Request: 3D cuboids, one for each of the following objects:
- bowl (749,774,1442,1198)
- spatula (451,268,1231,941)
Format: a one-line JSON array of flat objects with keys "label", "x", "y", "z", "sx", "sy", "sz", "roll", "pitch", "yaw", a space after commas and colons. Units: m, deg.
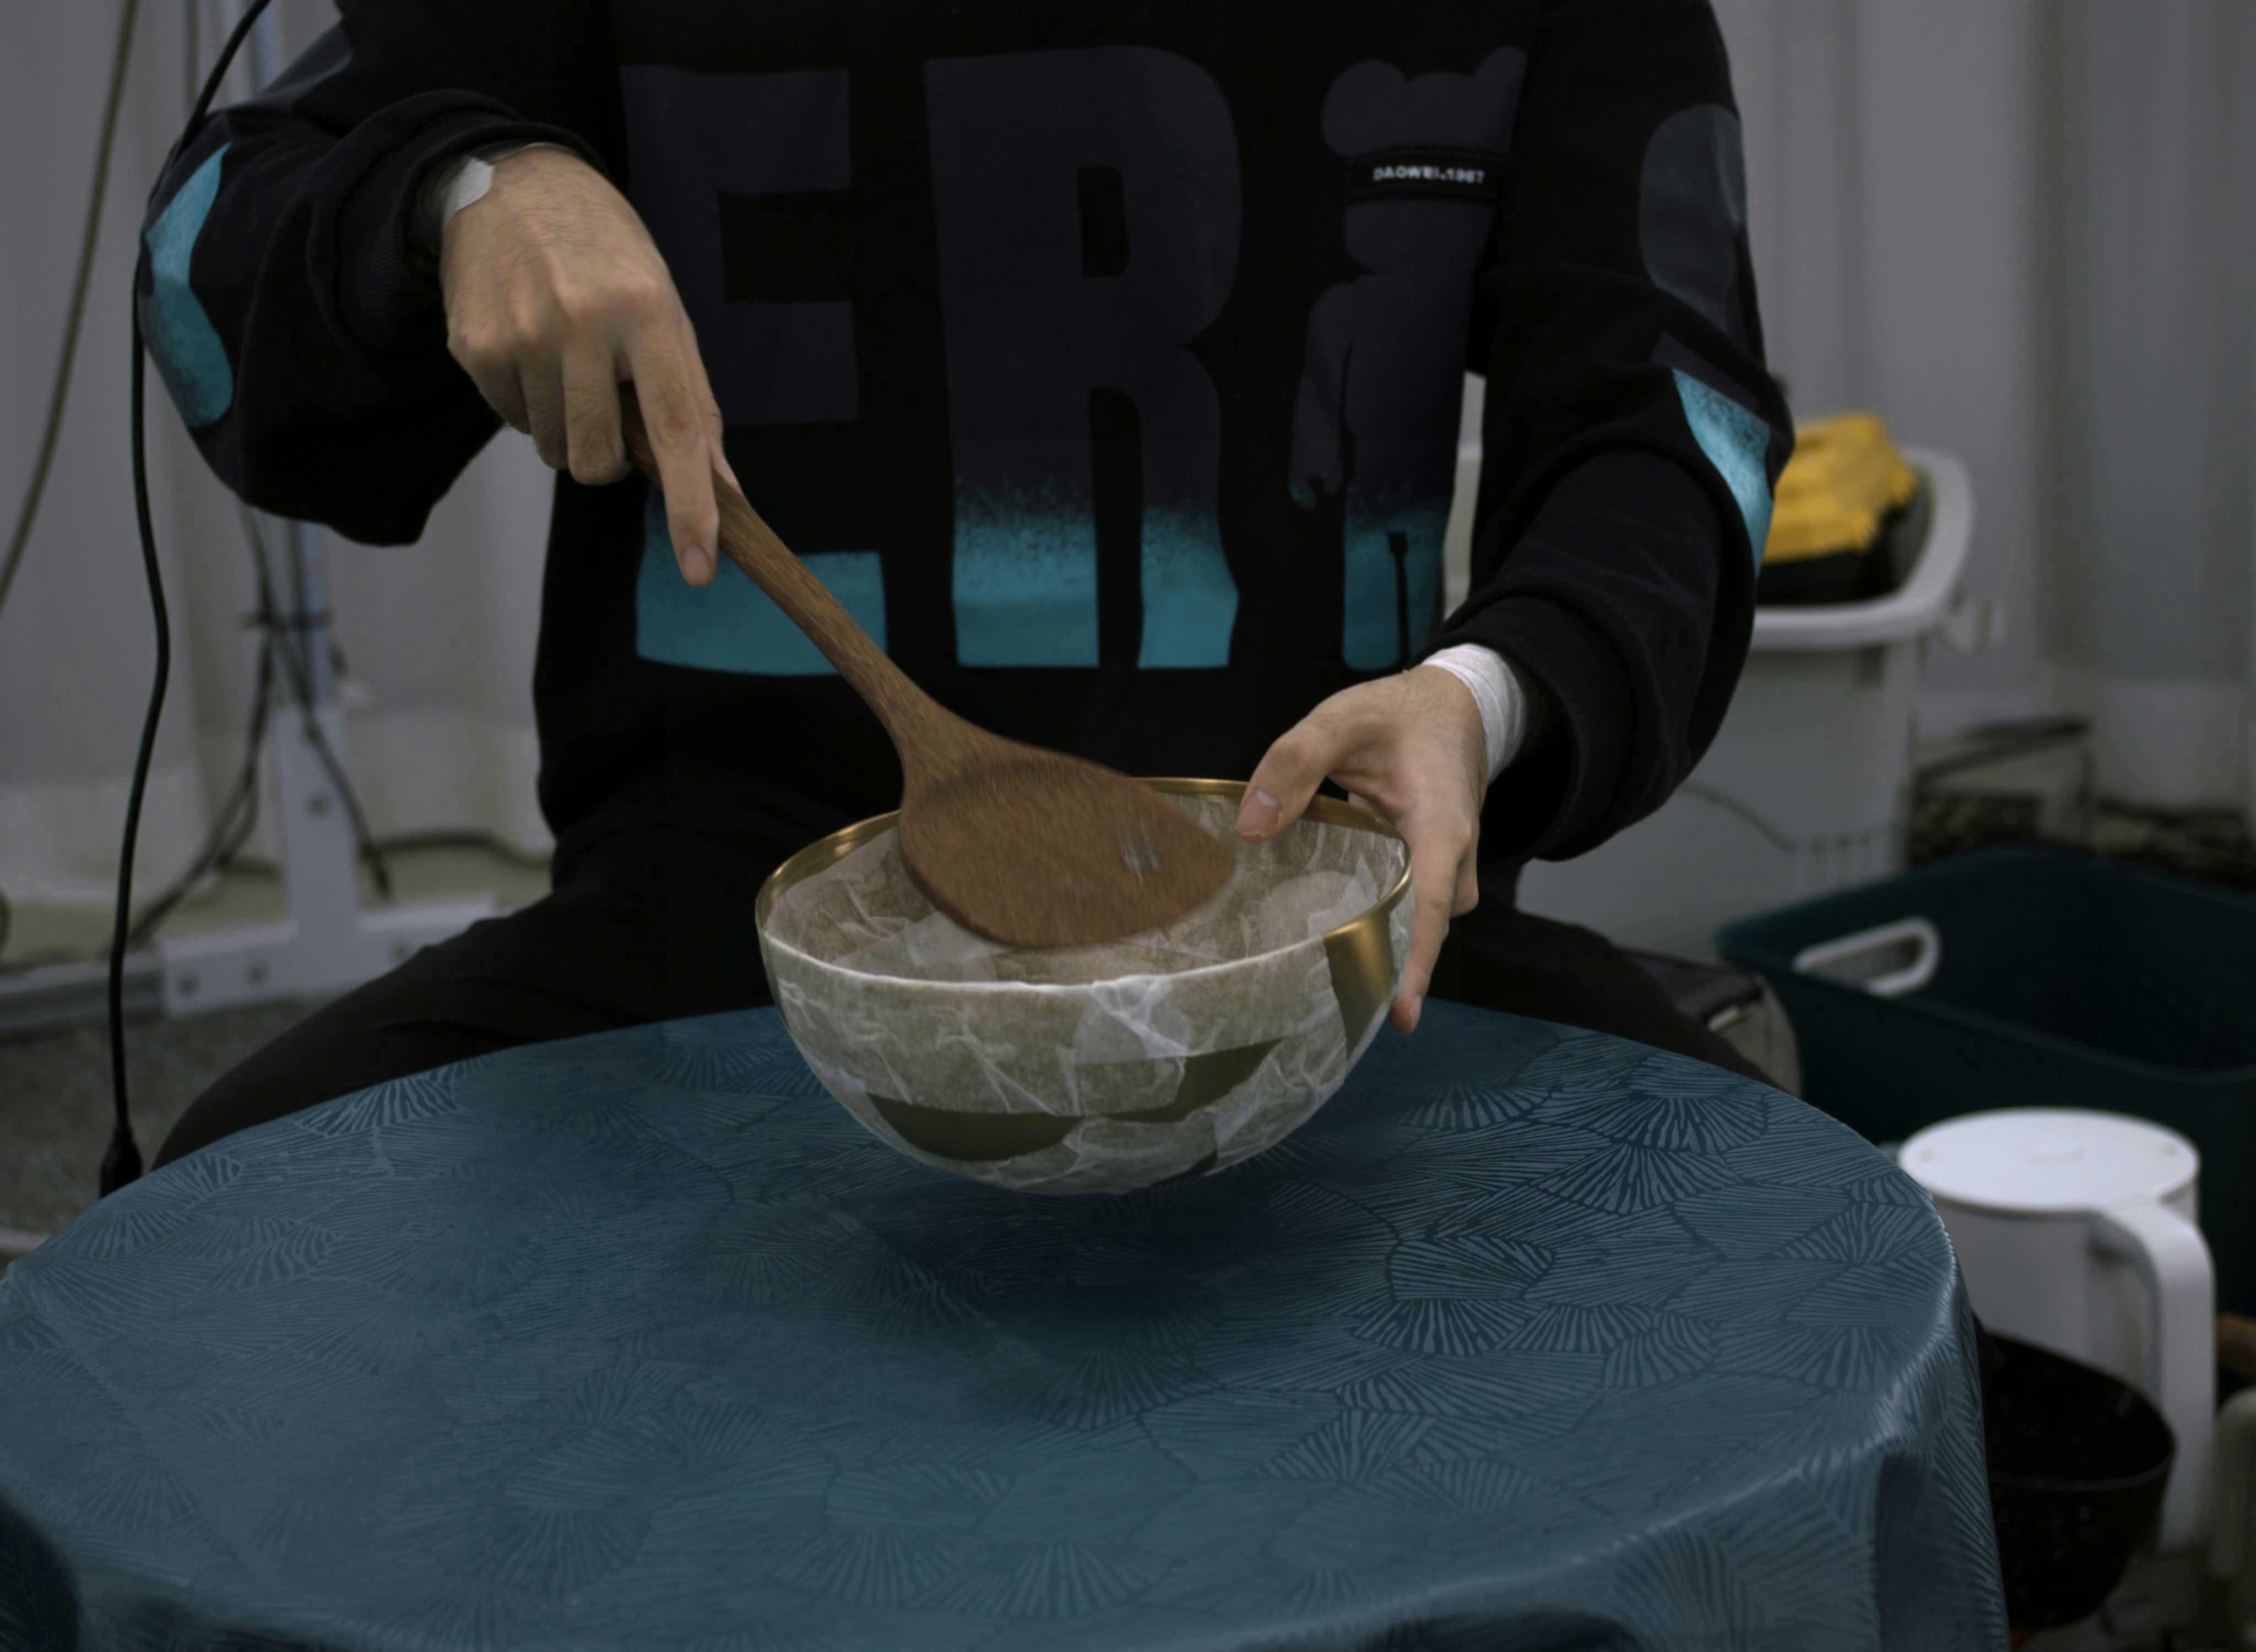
[{"label": "bowl", "x": -0.007, "y": 0.057, "z": 1.656, "sx": 0.214, "sy": 0.094, "sz": 0.216, "roll": -5, "pitch": 16, "yaw": 1}, {"label": "spatula", "x": -0.110, "y": -0.080, "z": 1.742, "sx": 0.096, "sy": 0.015, "sz": 0.390, "roll": -19, "pitch": 46, "yaw": -32}]
